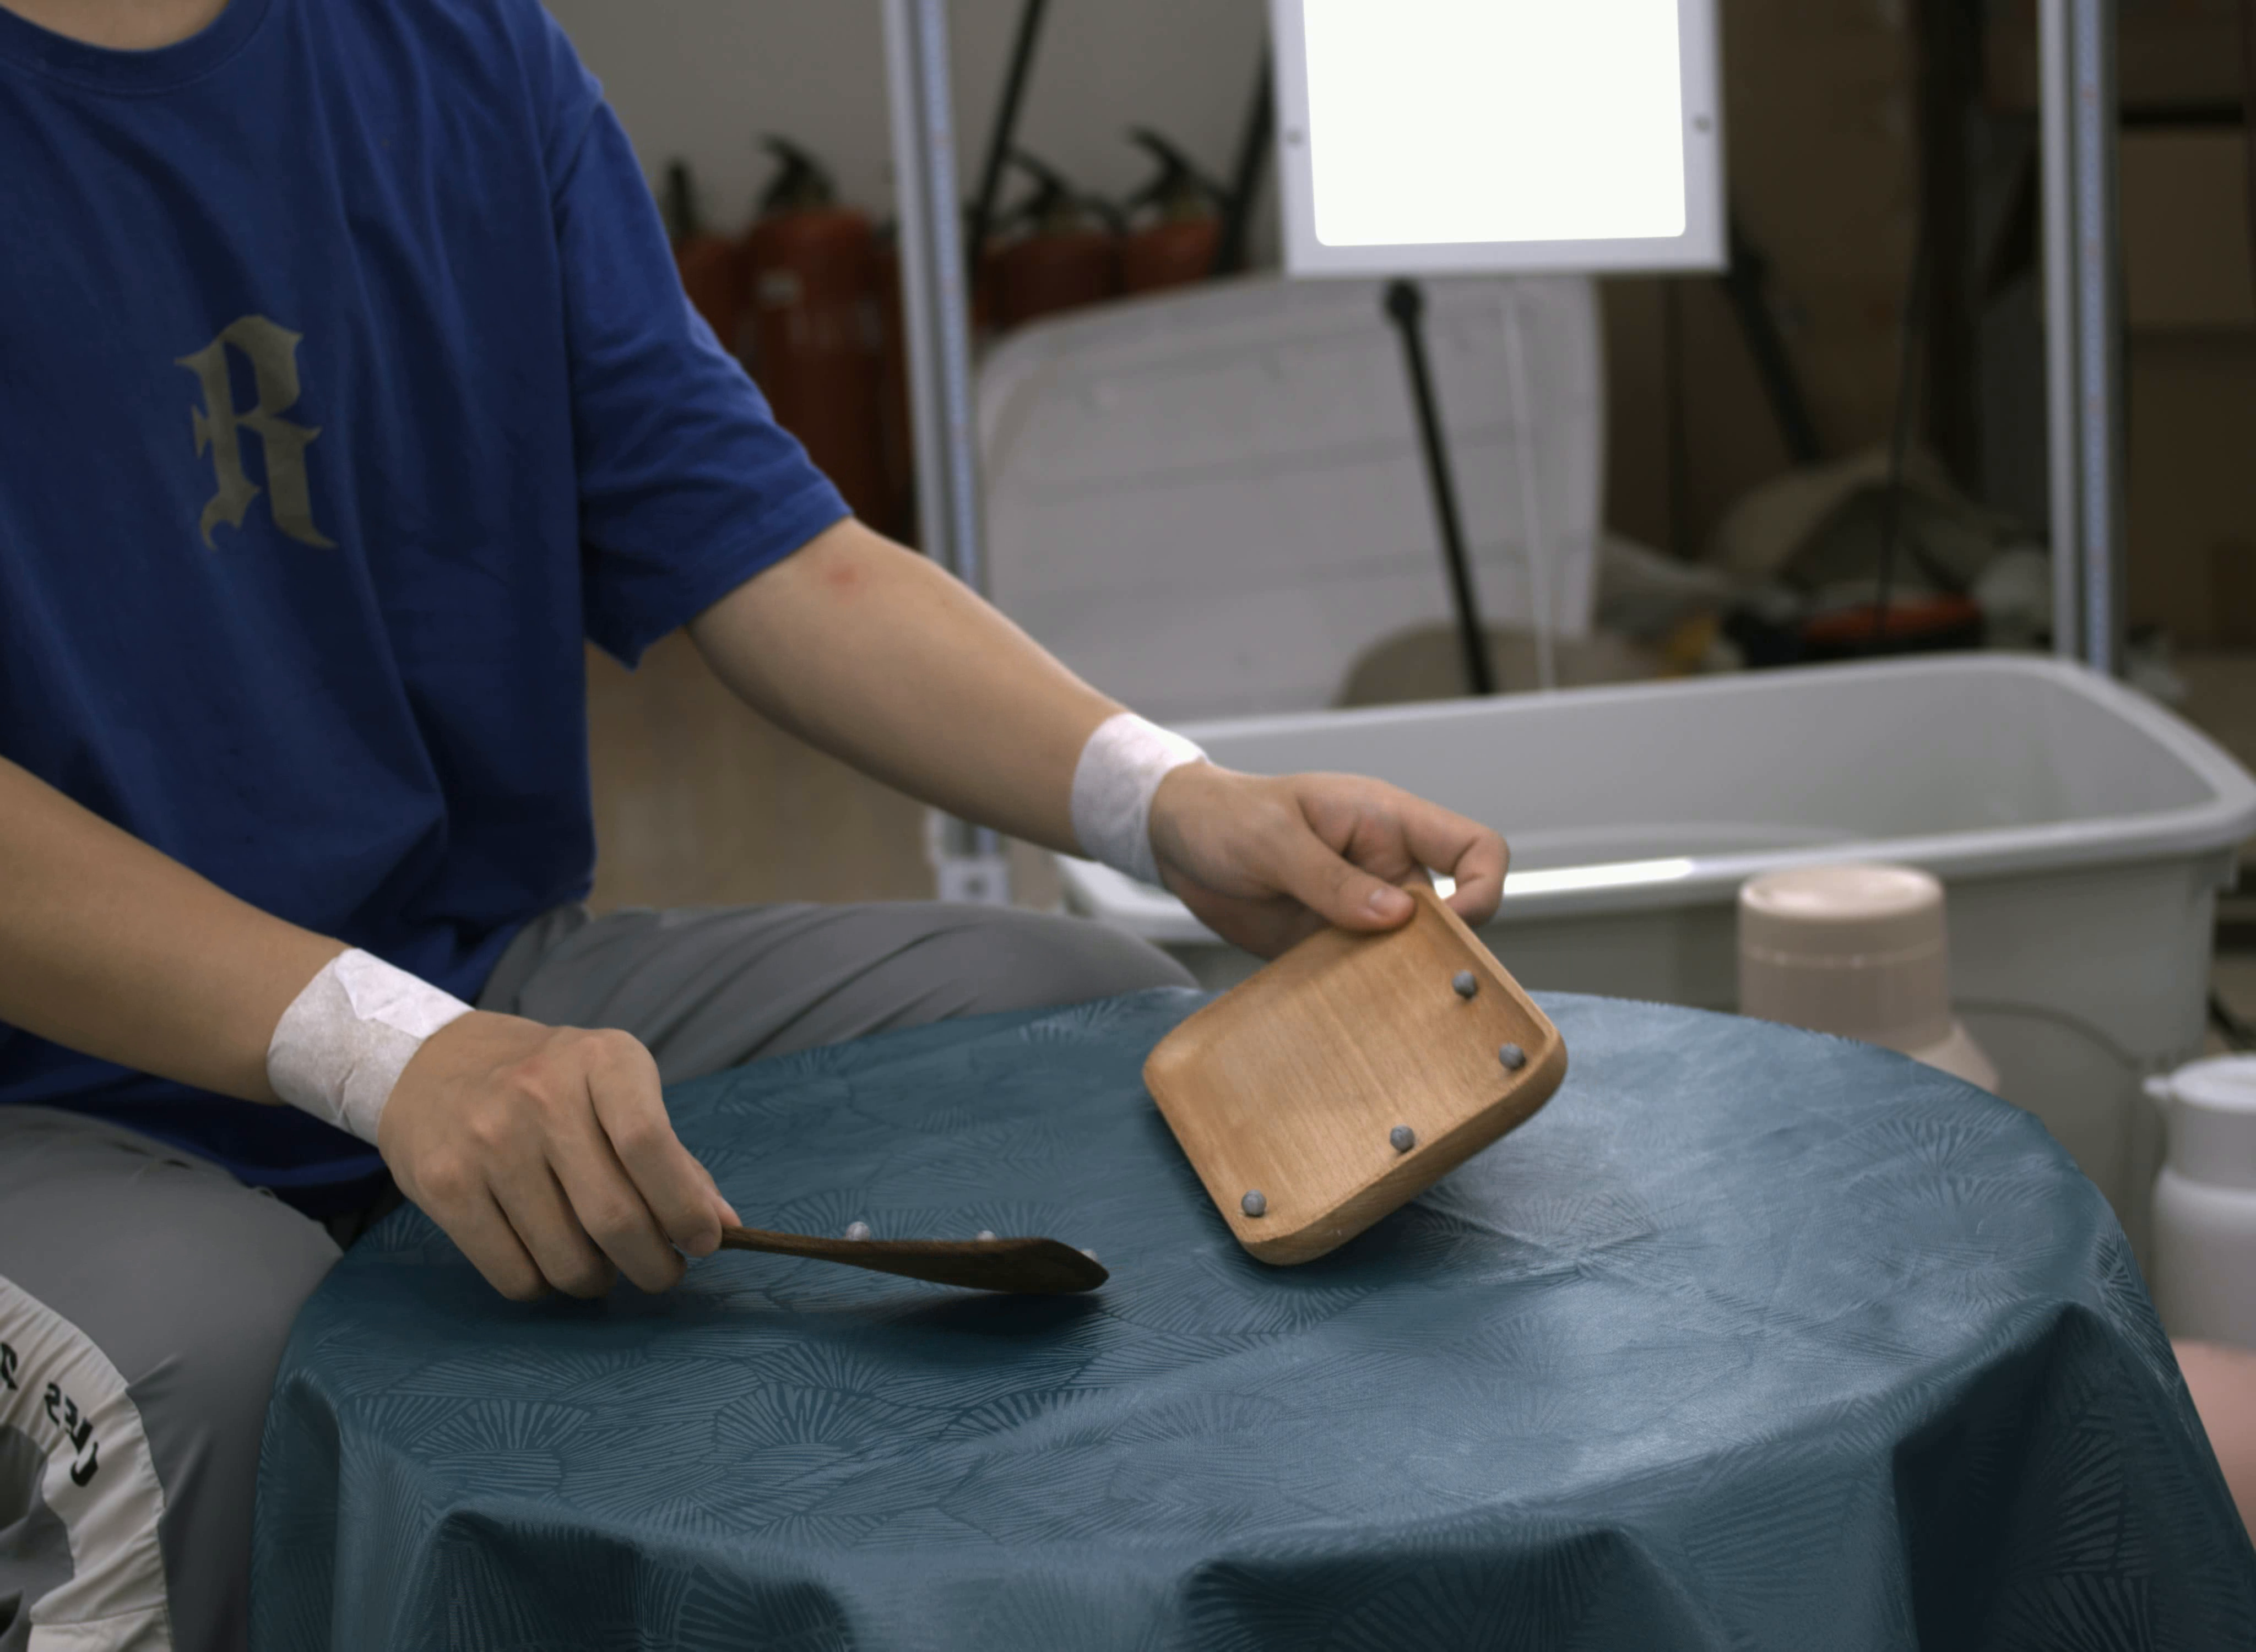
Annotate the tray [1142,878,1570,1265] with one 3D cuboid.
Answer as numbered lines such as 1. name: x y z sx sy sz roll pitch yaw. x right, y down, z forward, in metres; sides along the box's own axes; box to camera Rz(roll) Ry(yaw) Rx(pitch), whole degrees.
1. tray: 0.077 0.083 1.902 0.130 0.023 0.251 -31 15 1

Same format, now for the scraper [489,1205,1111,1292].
1. scraper: -0.110 0.136 1.800 0.214 0.011 0.075 4 -13 21
